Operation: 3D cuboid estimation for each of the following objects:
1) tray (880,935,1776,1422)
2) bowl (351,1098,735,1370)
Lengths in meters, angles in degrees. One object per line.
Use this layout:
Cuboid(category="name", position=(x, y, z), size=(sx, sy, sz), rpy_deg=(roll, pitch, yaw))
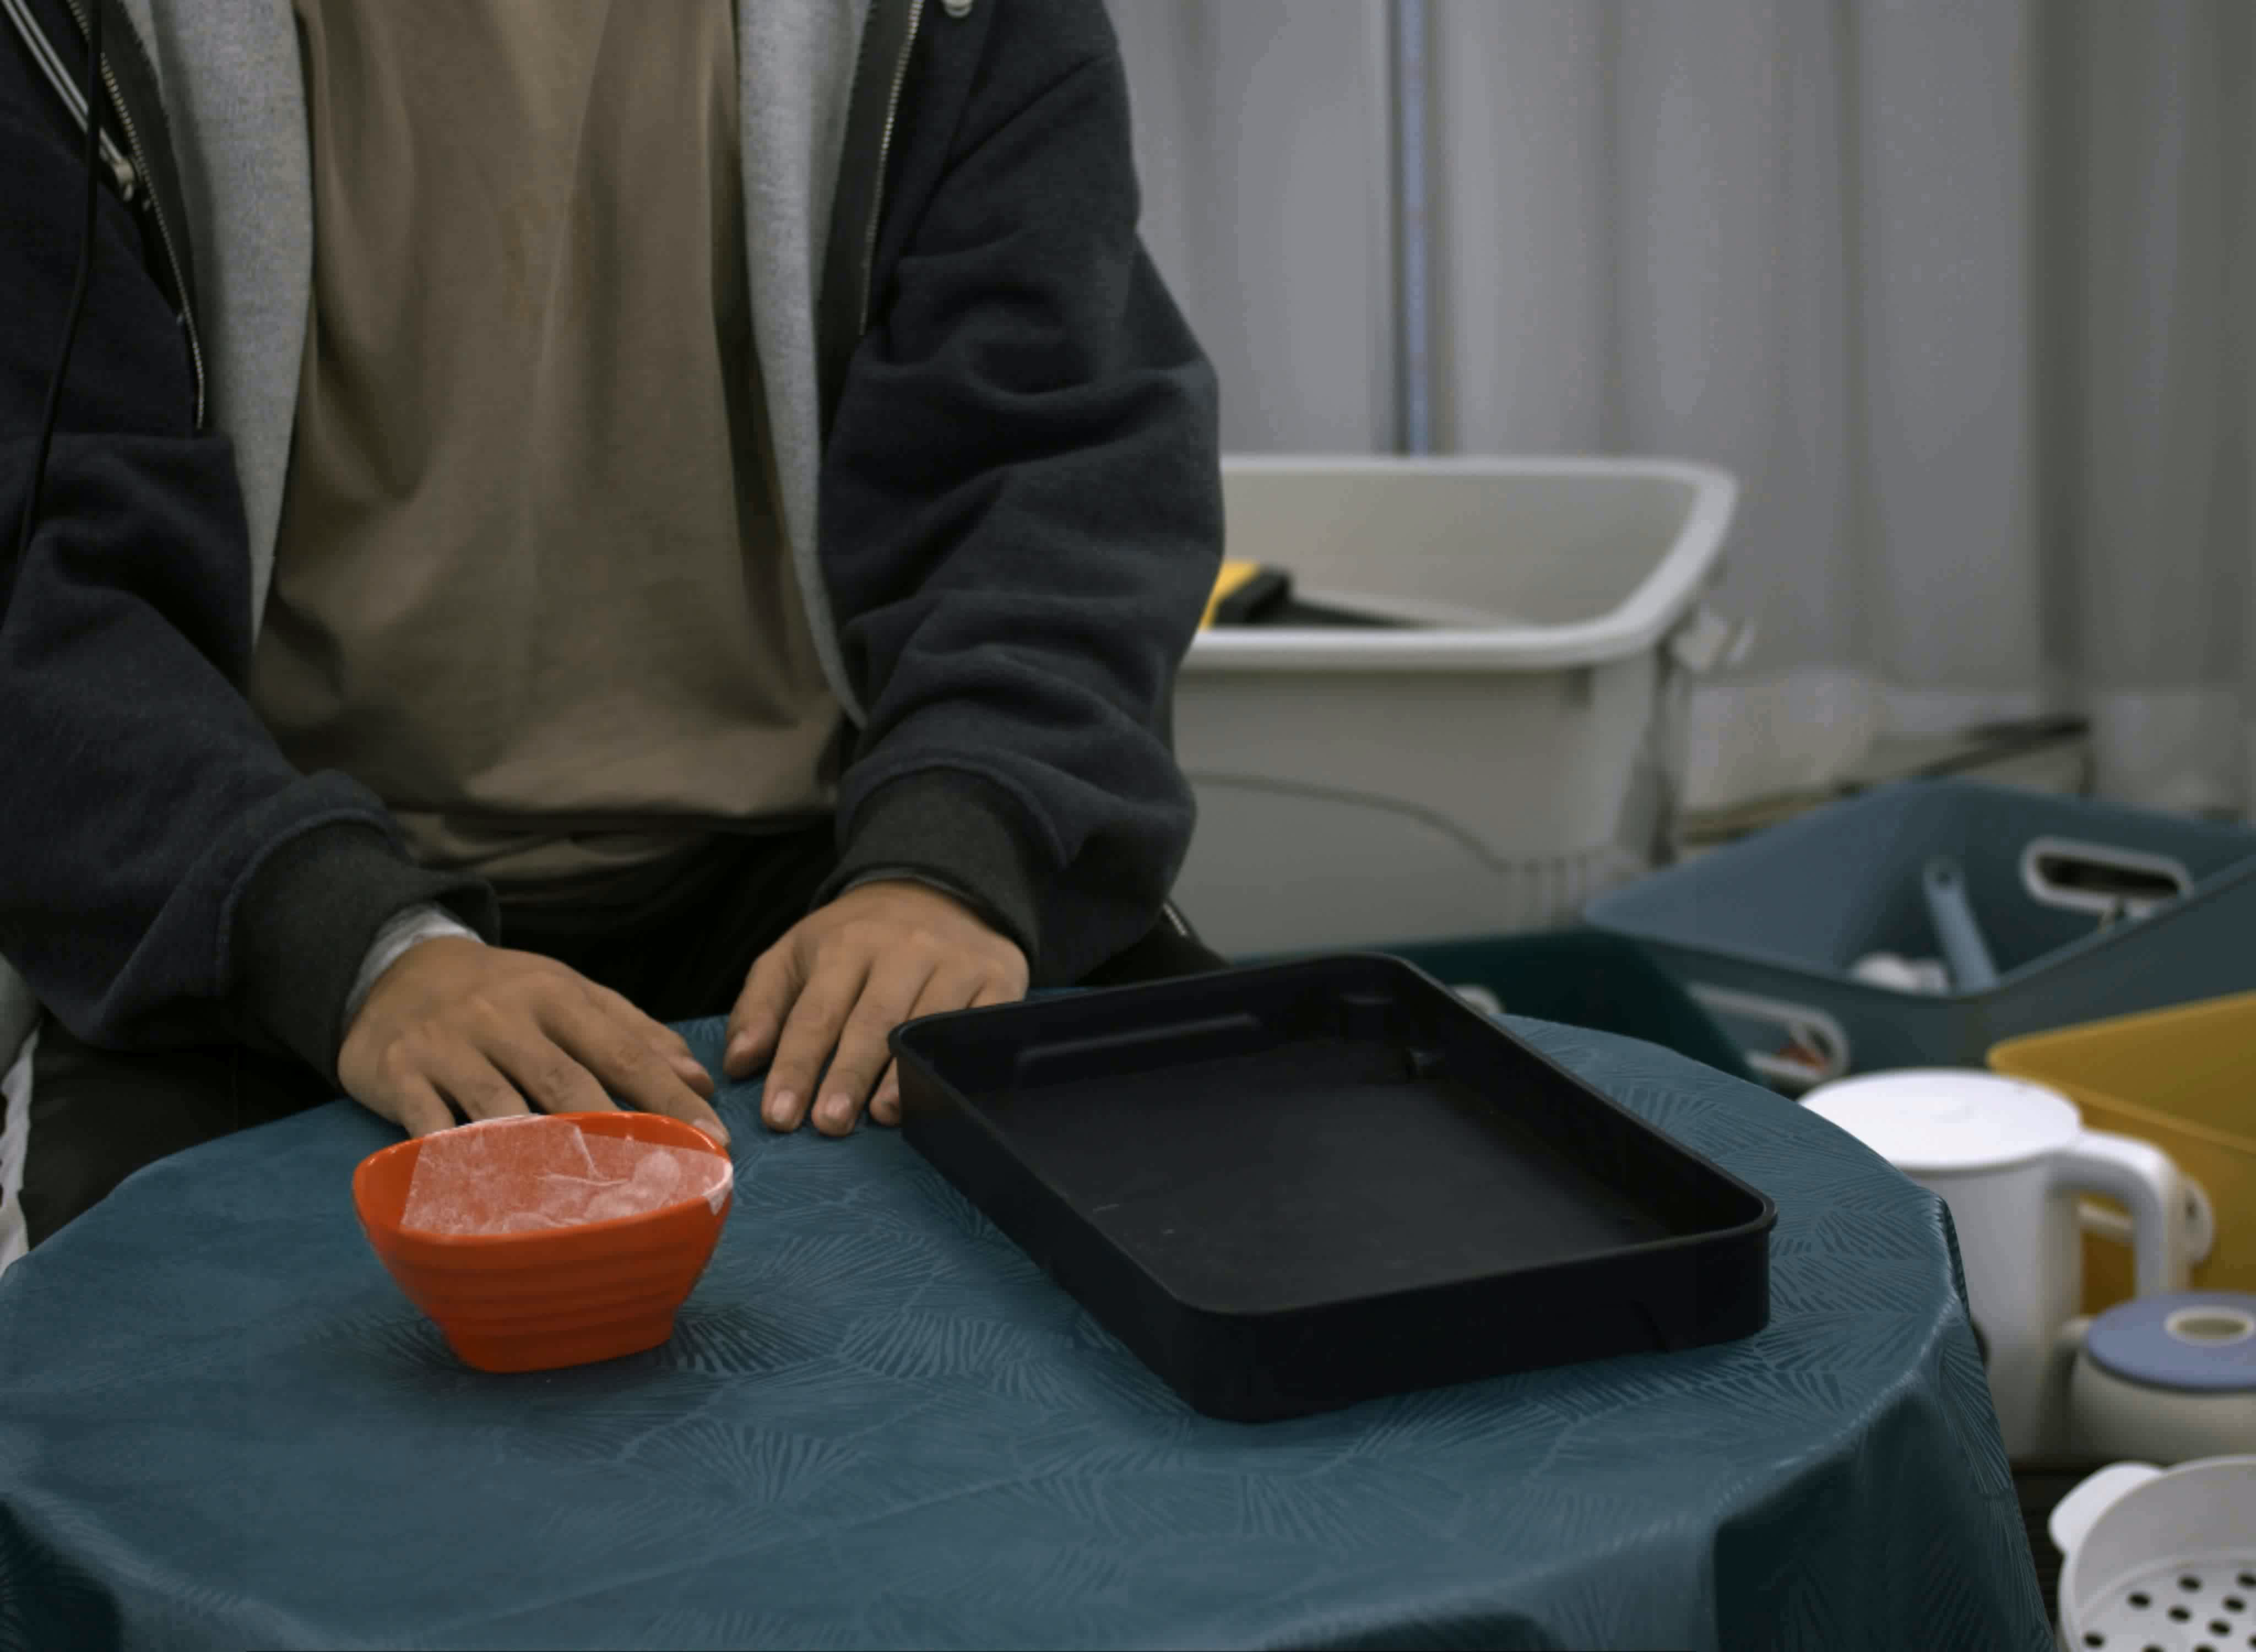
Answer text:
Cuboid(category="tray", position=(0.053, 0.102, 1.676), size=(0.183, 0.037, 0.320), rpy_deg=(-8, 17, -18))
Cuboid(category="bowl", position=(-0.171, 0.123, 1.613), size=(0.118, 0.051, 0.120), rpy_deg=(-3, 17, 1))
